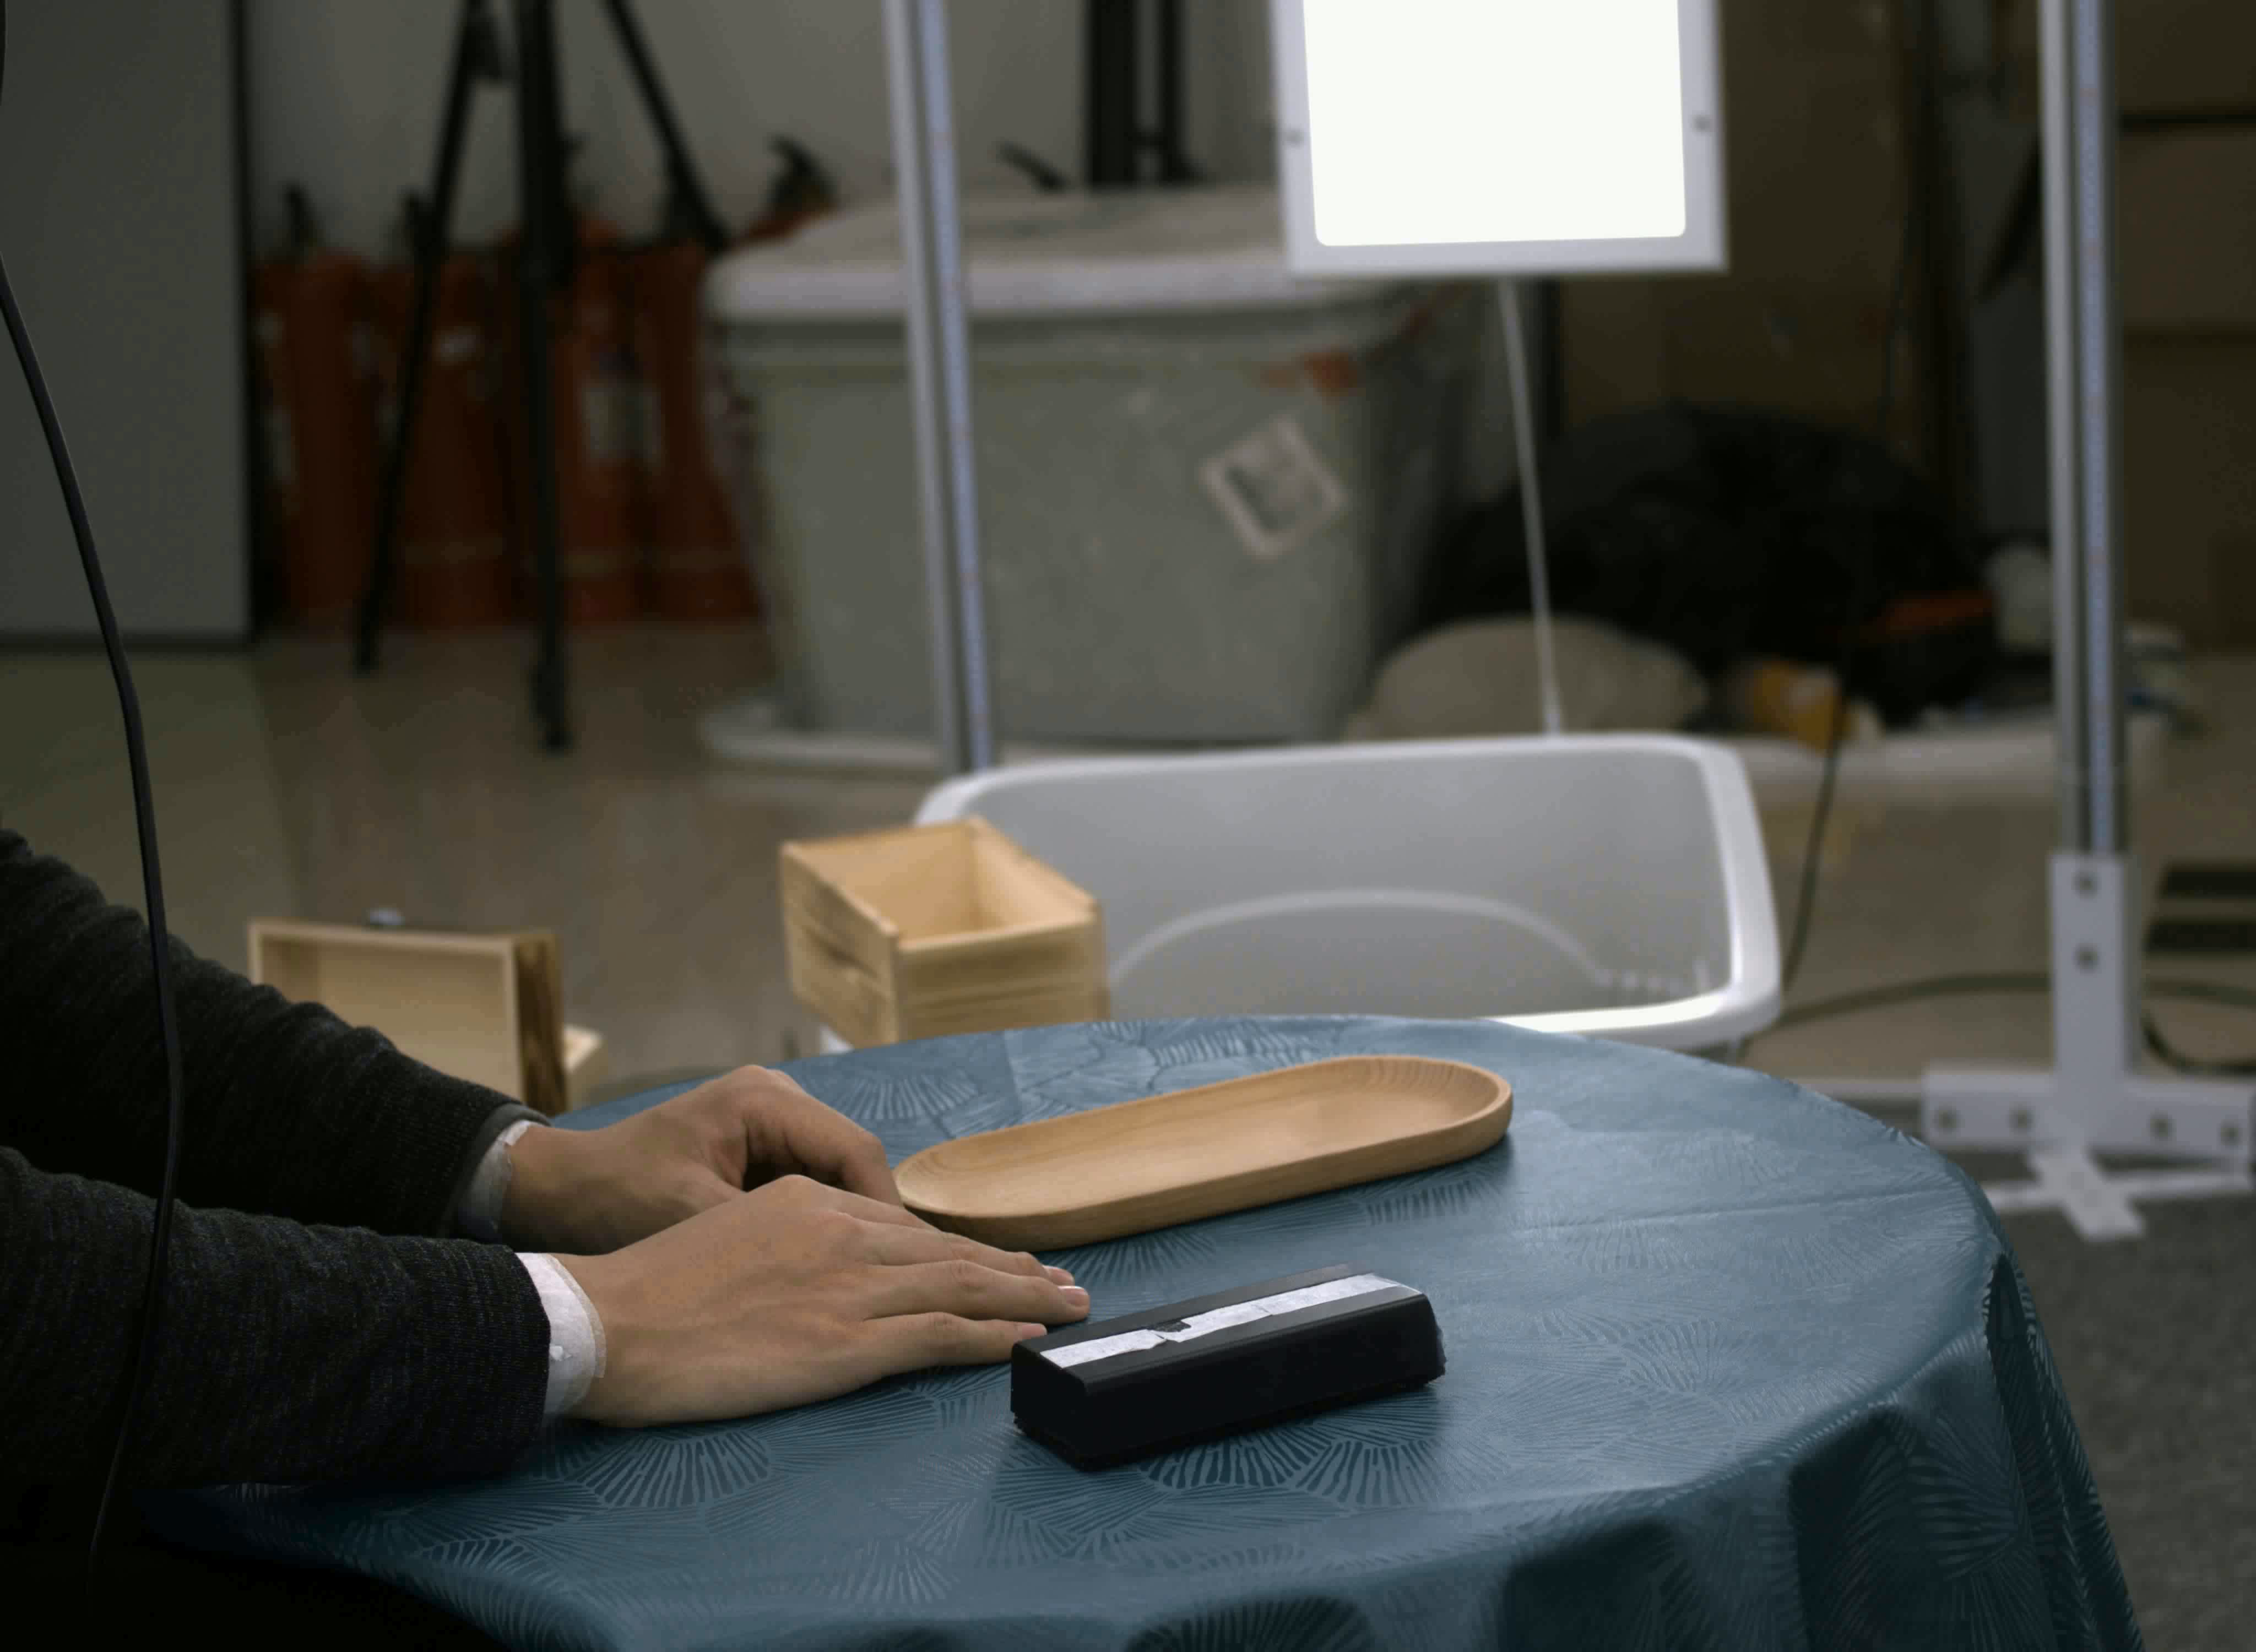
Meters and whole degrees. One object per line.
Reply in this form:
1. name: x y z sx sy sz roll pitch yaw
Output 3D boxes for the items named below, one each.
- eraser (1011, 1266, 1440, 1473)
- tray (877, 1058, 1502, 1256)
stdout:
1. eraser: 0.031 0.164 1.675 0.123 0.030 0.054 -13 13 -24
2. tray: 0.023 0.114 1.906 0.227 0.020 0.103 -13 14 -22
